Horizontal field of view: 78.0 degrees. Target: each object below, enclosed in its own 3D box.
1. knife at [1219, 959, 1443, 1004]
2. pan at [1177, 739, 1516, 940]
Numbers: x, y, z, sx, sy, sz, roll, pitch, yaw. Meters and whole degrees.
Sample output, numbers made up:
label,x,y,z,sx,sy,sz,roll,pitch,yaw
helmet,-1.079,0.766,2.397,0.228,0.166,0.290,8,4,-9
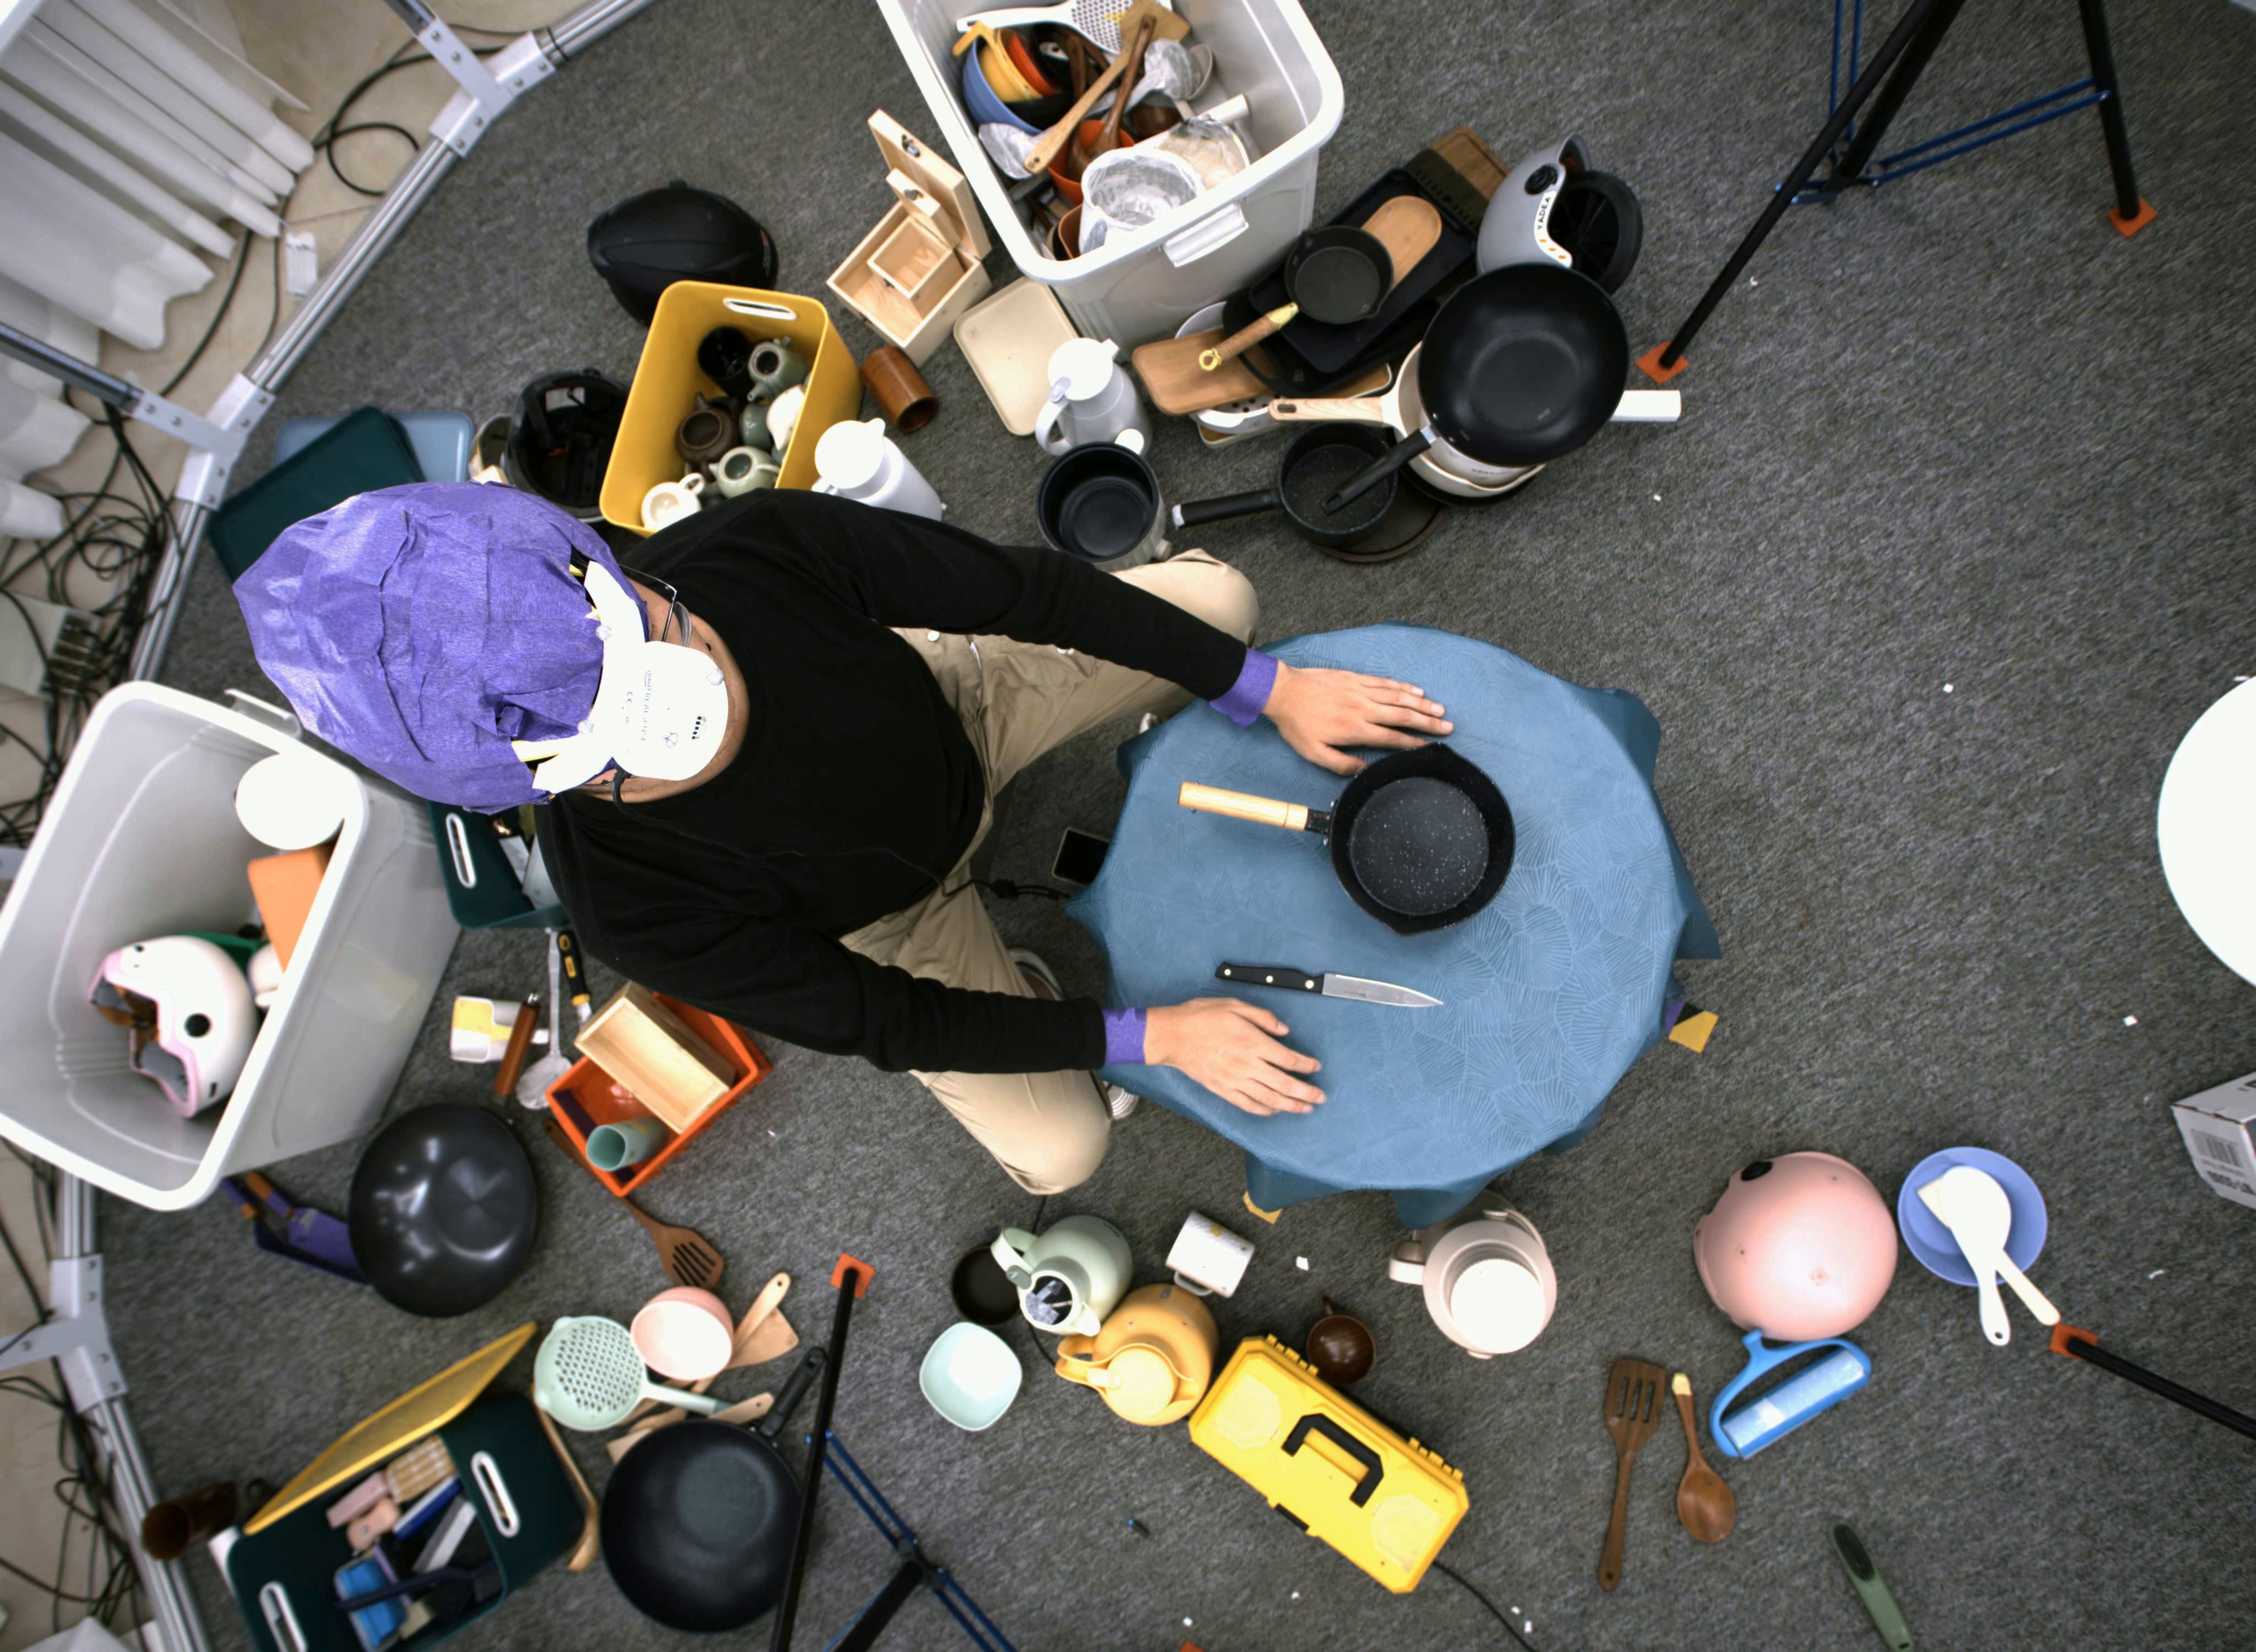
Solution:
label,x,y,z,sx,sy,sz,roll,pitch,yaw
knife,0.213,0.166,1.462,0.239,0.016,0.024,8,86,8
pan,0.221,0.002,1.420,0.343,0.108,0.207,10,89,10
